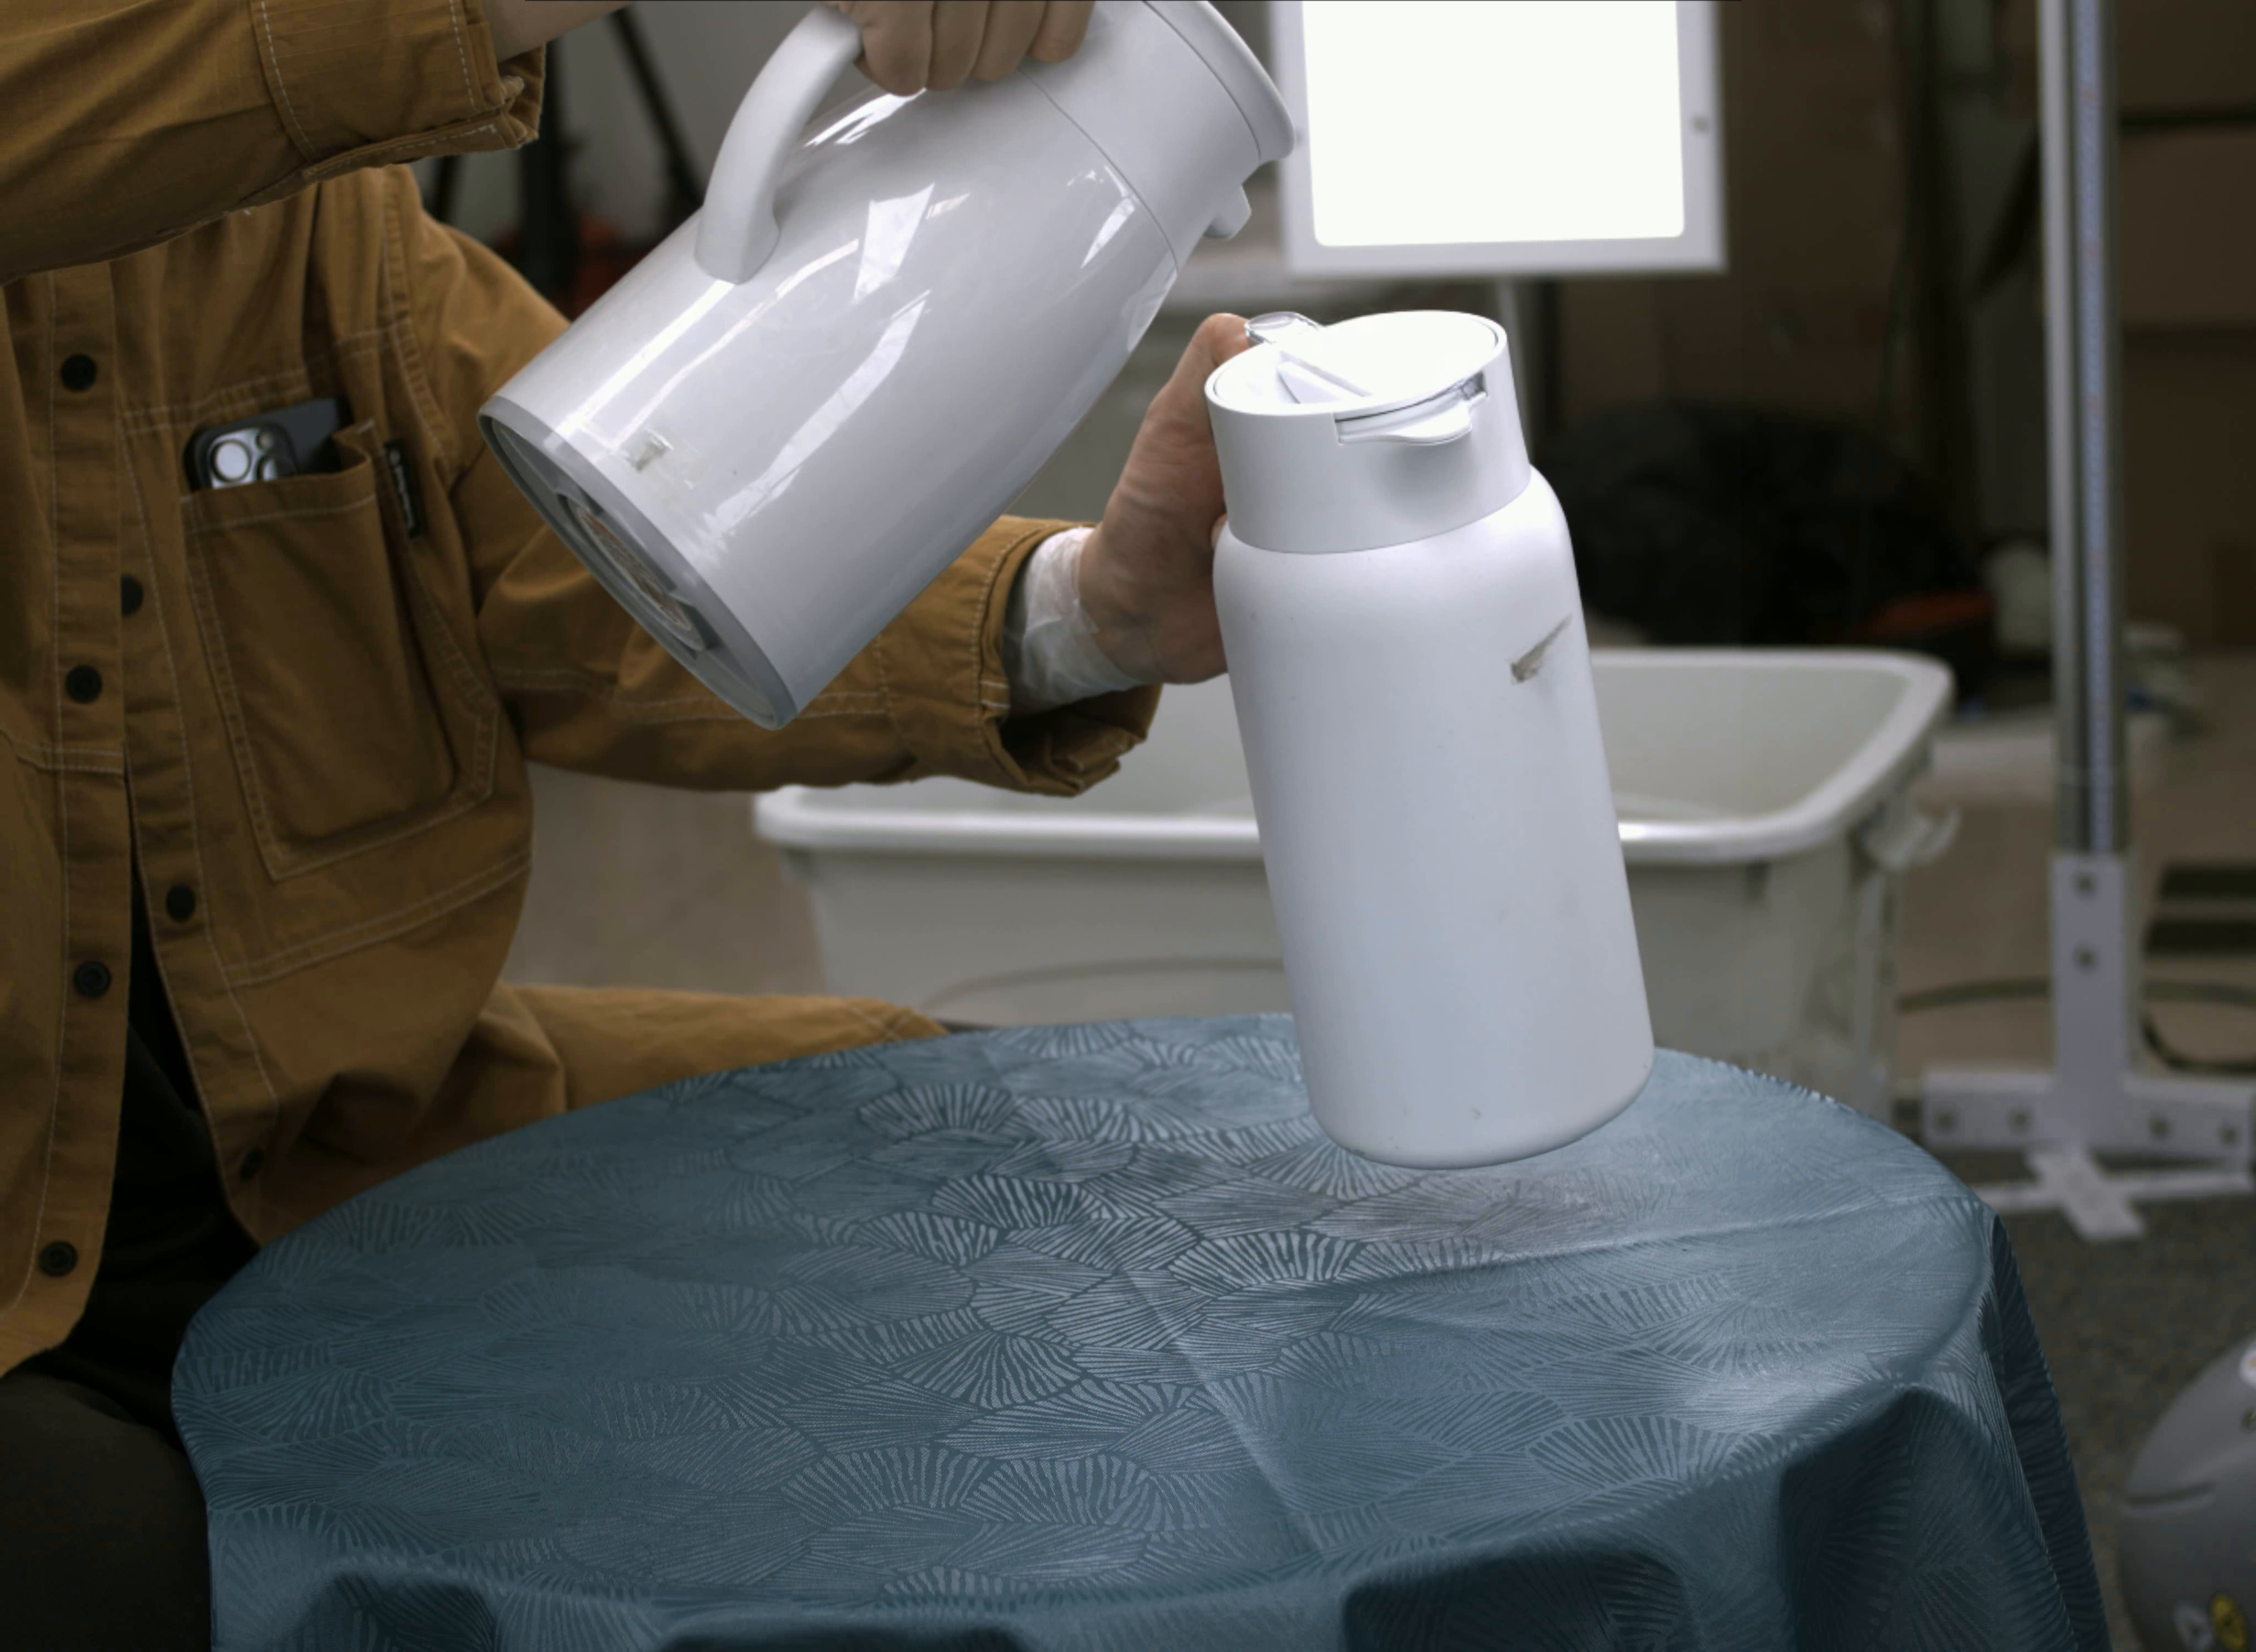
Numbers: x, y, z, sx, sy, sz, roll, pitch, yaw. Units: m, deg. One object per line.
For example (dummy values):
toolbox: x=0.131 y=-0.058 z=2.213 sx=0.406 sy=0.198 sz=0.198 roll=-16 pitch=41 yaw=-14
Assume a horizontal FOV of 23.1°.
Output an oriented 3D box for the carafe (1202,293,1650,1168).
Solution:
carafe: x=0.087 y=-0.034 z=1.808 sx=0.122 sy=0.269 sz=0.175 roll=-20 pitch=23 yaw=-16

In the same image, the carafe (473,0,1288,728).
carafe: x=-0.071 y=-0.172 z=1.653 sx=0.247 sy=0.166 sz=0.134 roll=-45 pitch=47 yaw=-7
